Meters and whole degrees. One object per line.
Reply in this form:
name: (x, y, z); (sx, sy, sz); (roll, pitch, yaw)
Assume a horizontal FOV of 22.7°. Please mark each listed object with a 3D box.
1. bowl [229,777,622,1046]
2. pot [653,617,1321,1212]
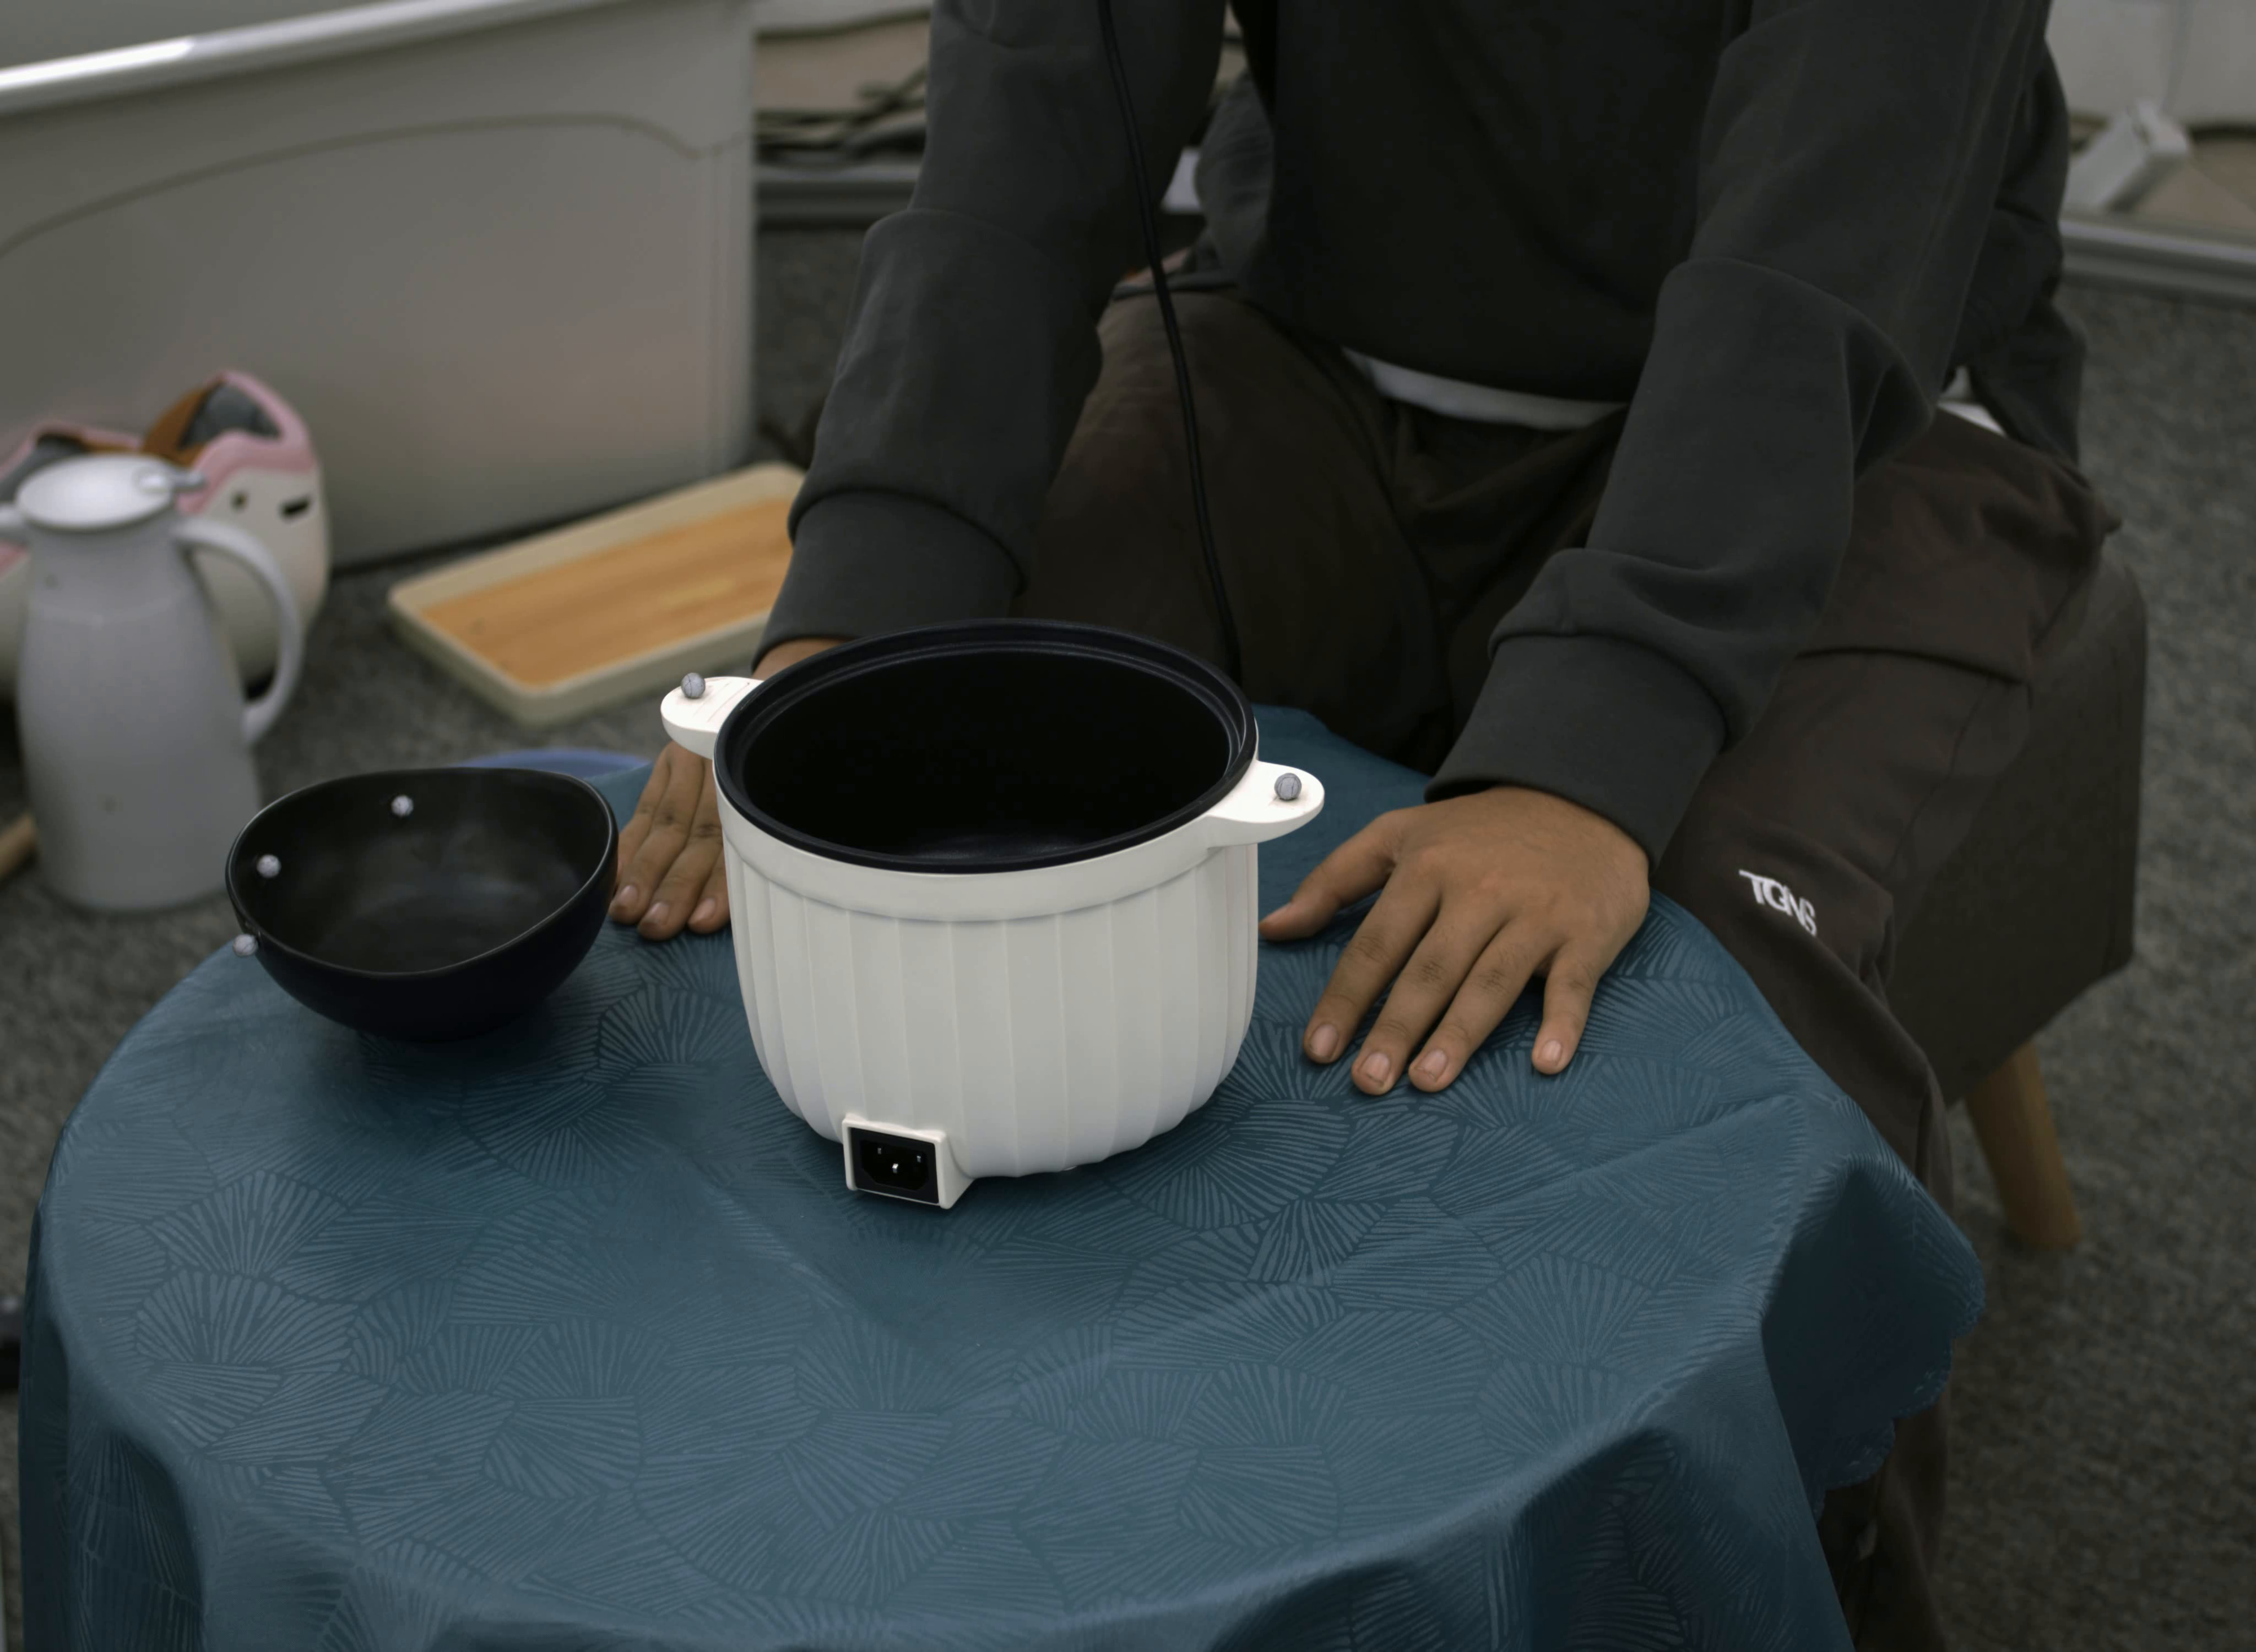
bowl: (-0.245, 0.035, 1.985); (0.136, 0.066, 0.173); (-2, 26, 2)
pot: (-0.045, 0.027, 1.904); (0.239, 0.141, 0.194); (10, 32, 20)
